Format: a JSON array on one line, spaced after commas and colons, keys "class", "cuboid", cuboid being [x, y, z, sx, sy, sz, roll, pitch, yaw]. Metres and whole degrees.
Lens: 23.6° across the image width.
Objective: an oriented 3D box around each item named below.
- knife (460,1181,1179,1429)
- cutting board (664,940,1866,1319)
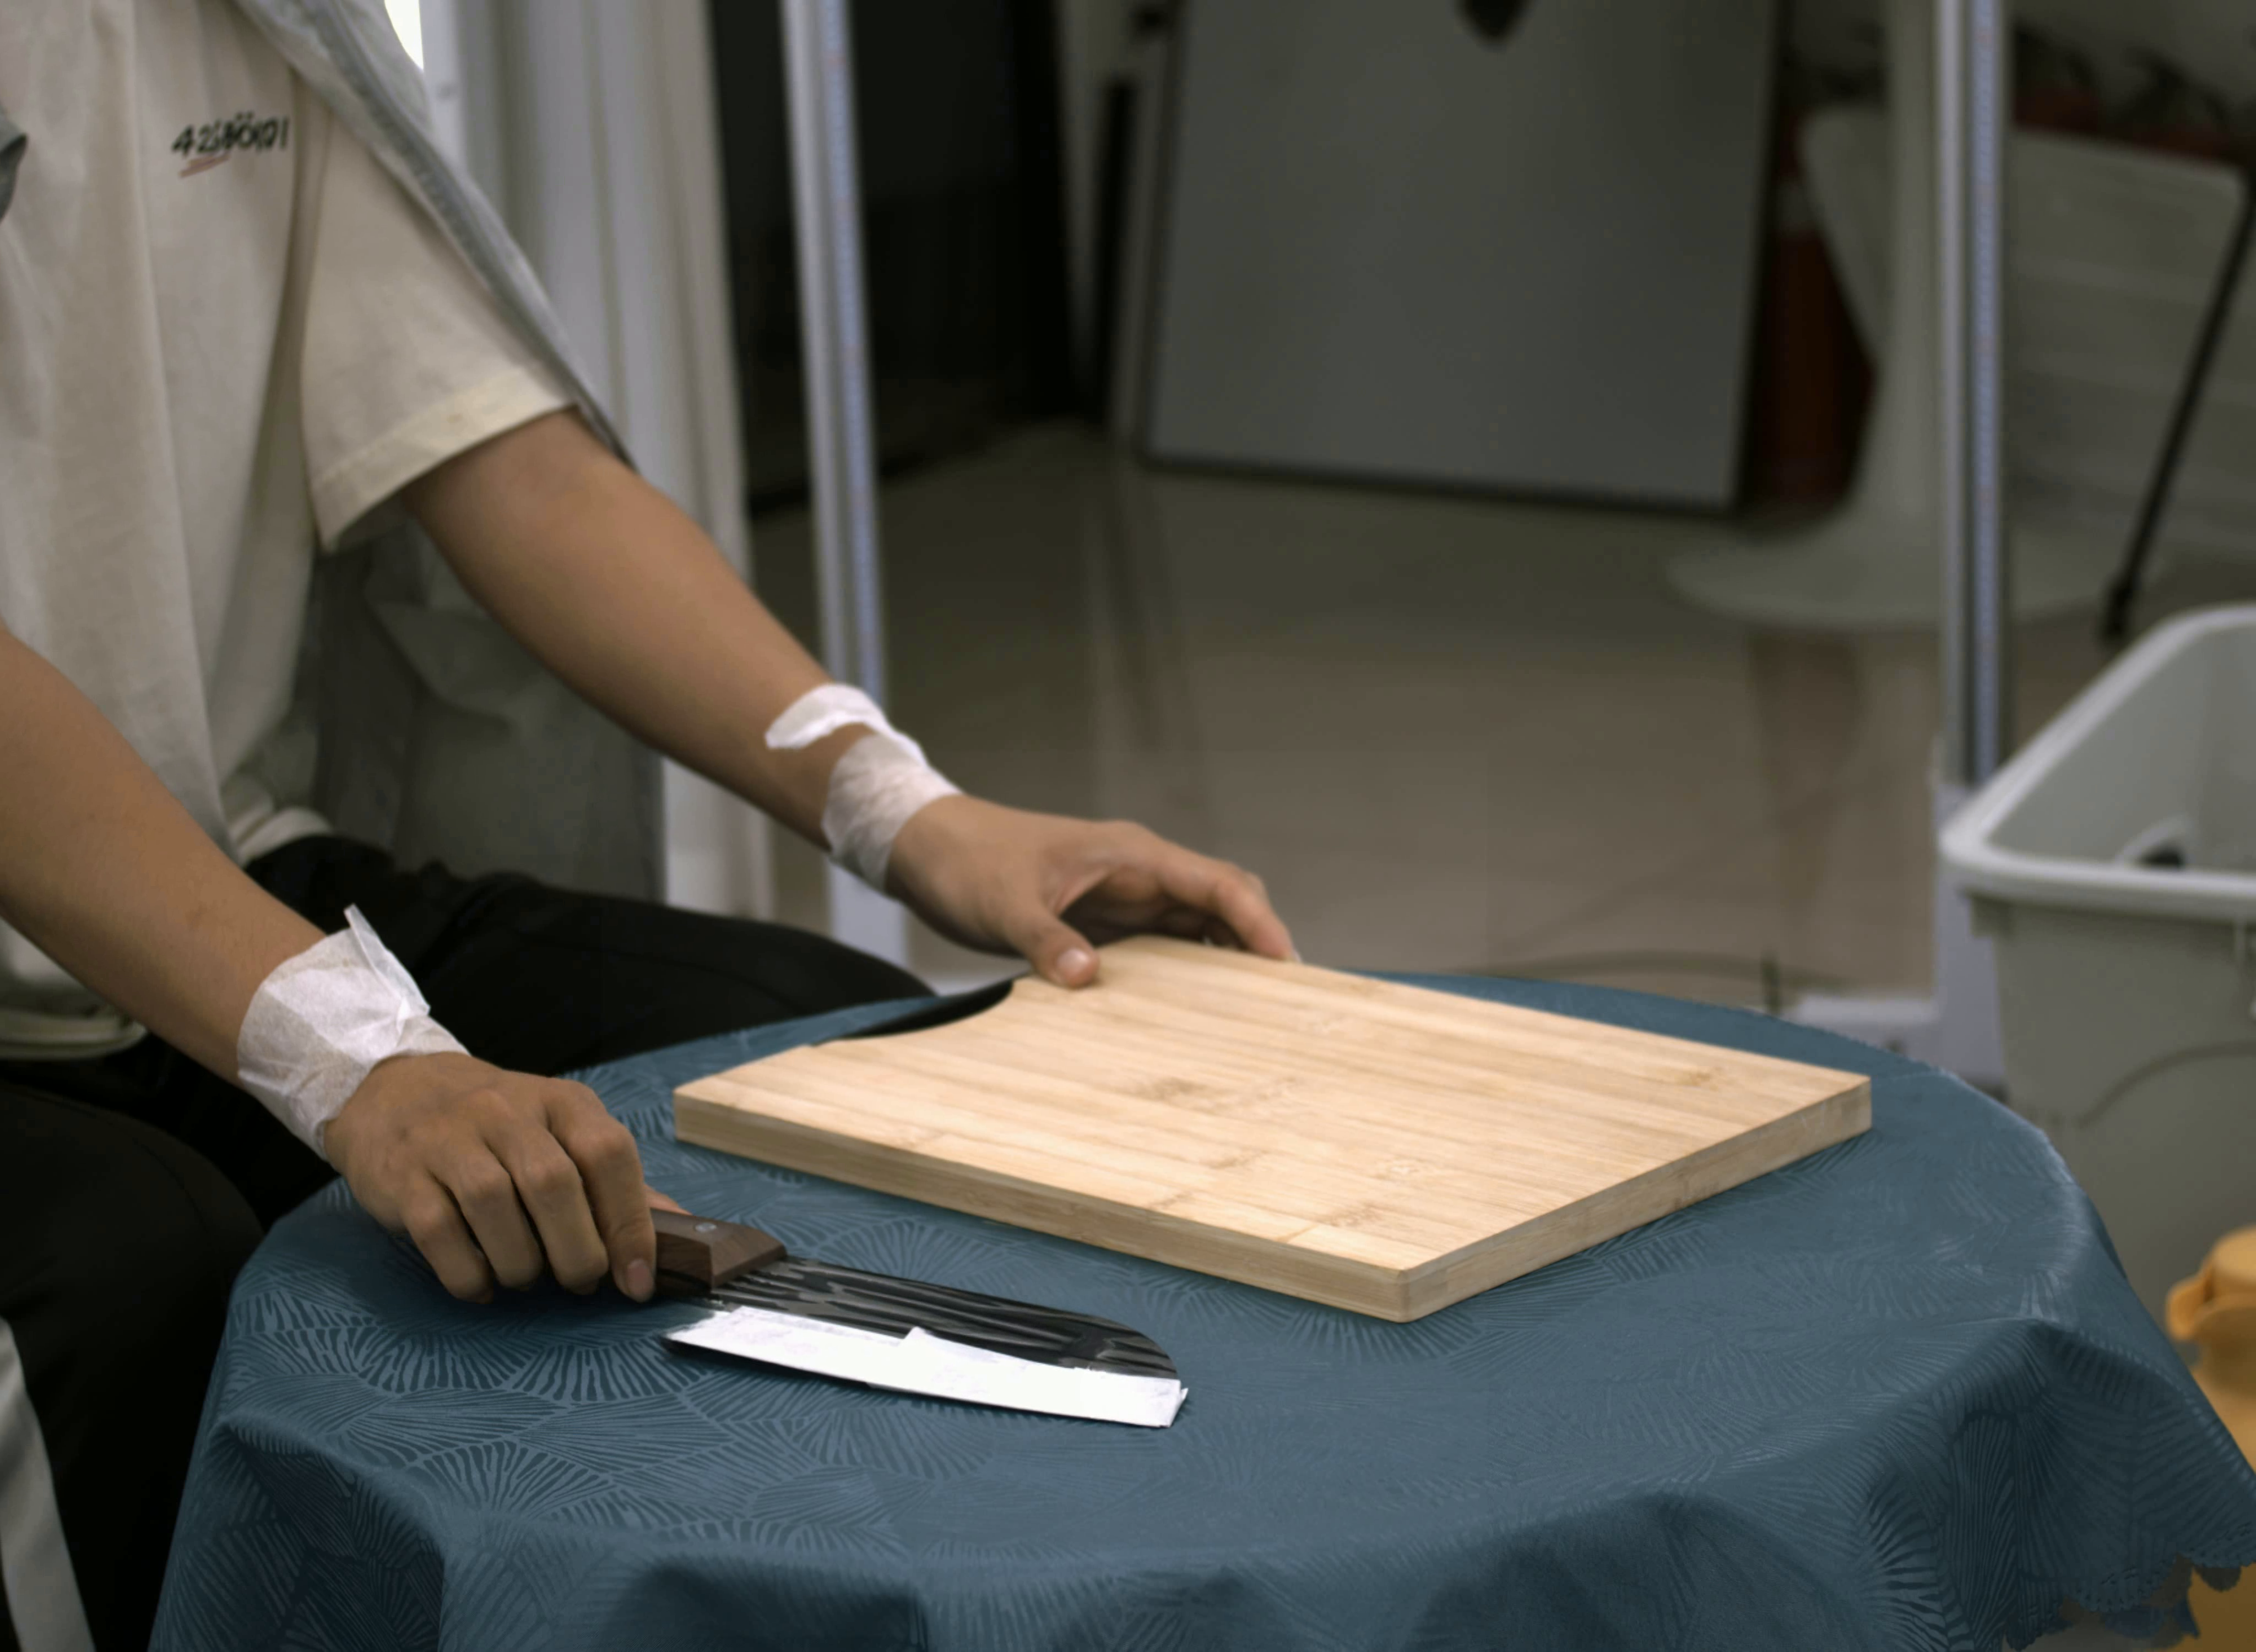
[{"class": "knife", "cuboid": [-0.102, 0.149, 1.654, 0.301, 0.024, 0.067, 8, 21, 34]}, {"class": "cutting board", "cuboid": [0.042, 0.097, 1.828, 0.352, 0.024, 0.245, 9, 19, 43]}]
